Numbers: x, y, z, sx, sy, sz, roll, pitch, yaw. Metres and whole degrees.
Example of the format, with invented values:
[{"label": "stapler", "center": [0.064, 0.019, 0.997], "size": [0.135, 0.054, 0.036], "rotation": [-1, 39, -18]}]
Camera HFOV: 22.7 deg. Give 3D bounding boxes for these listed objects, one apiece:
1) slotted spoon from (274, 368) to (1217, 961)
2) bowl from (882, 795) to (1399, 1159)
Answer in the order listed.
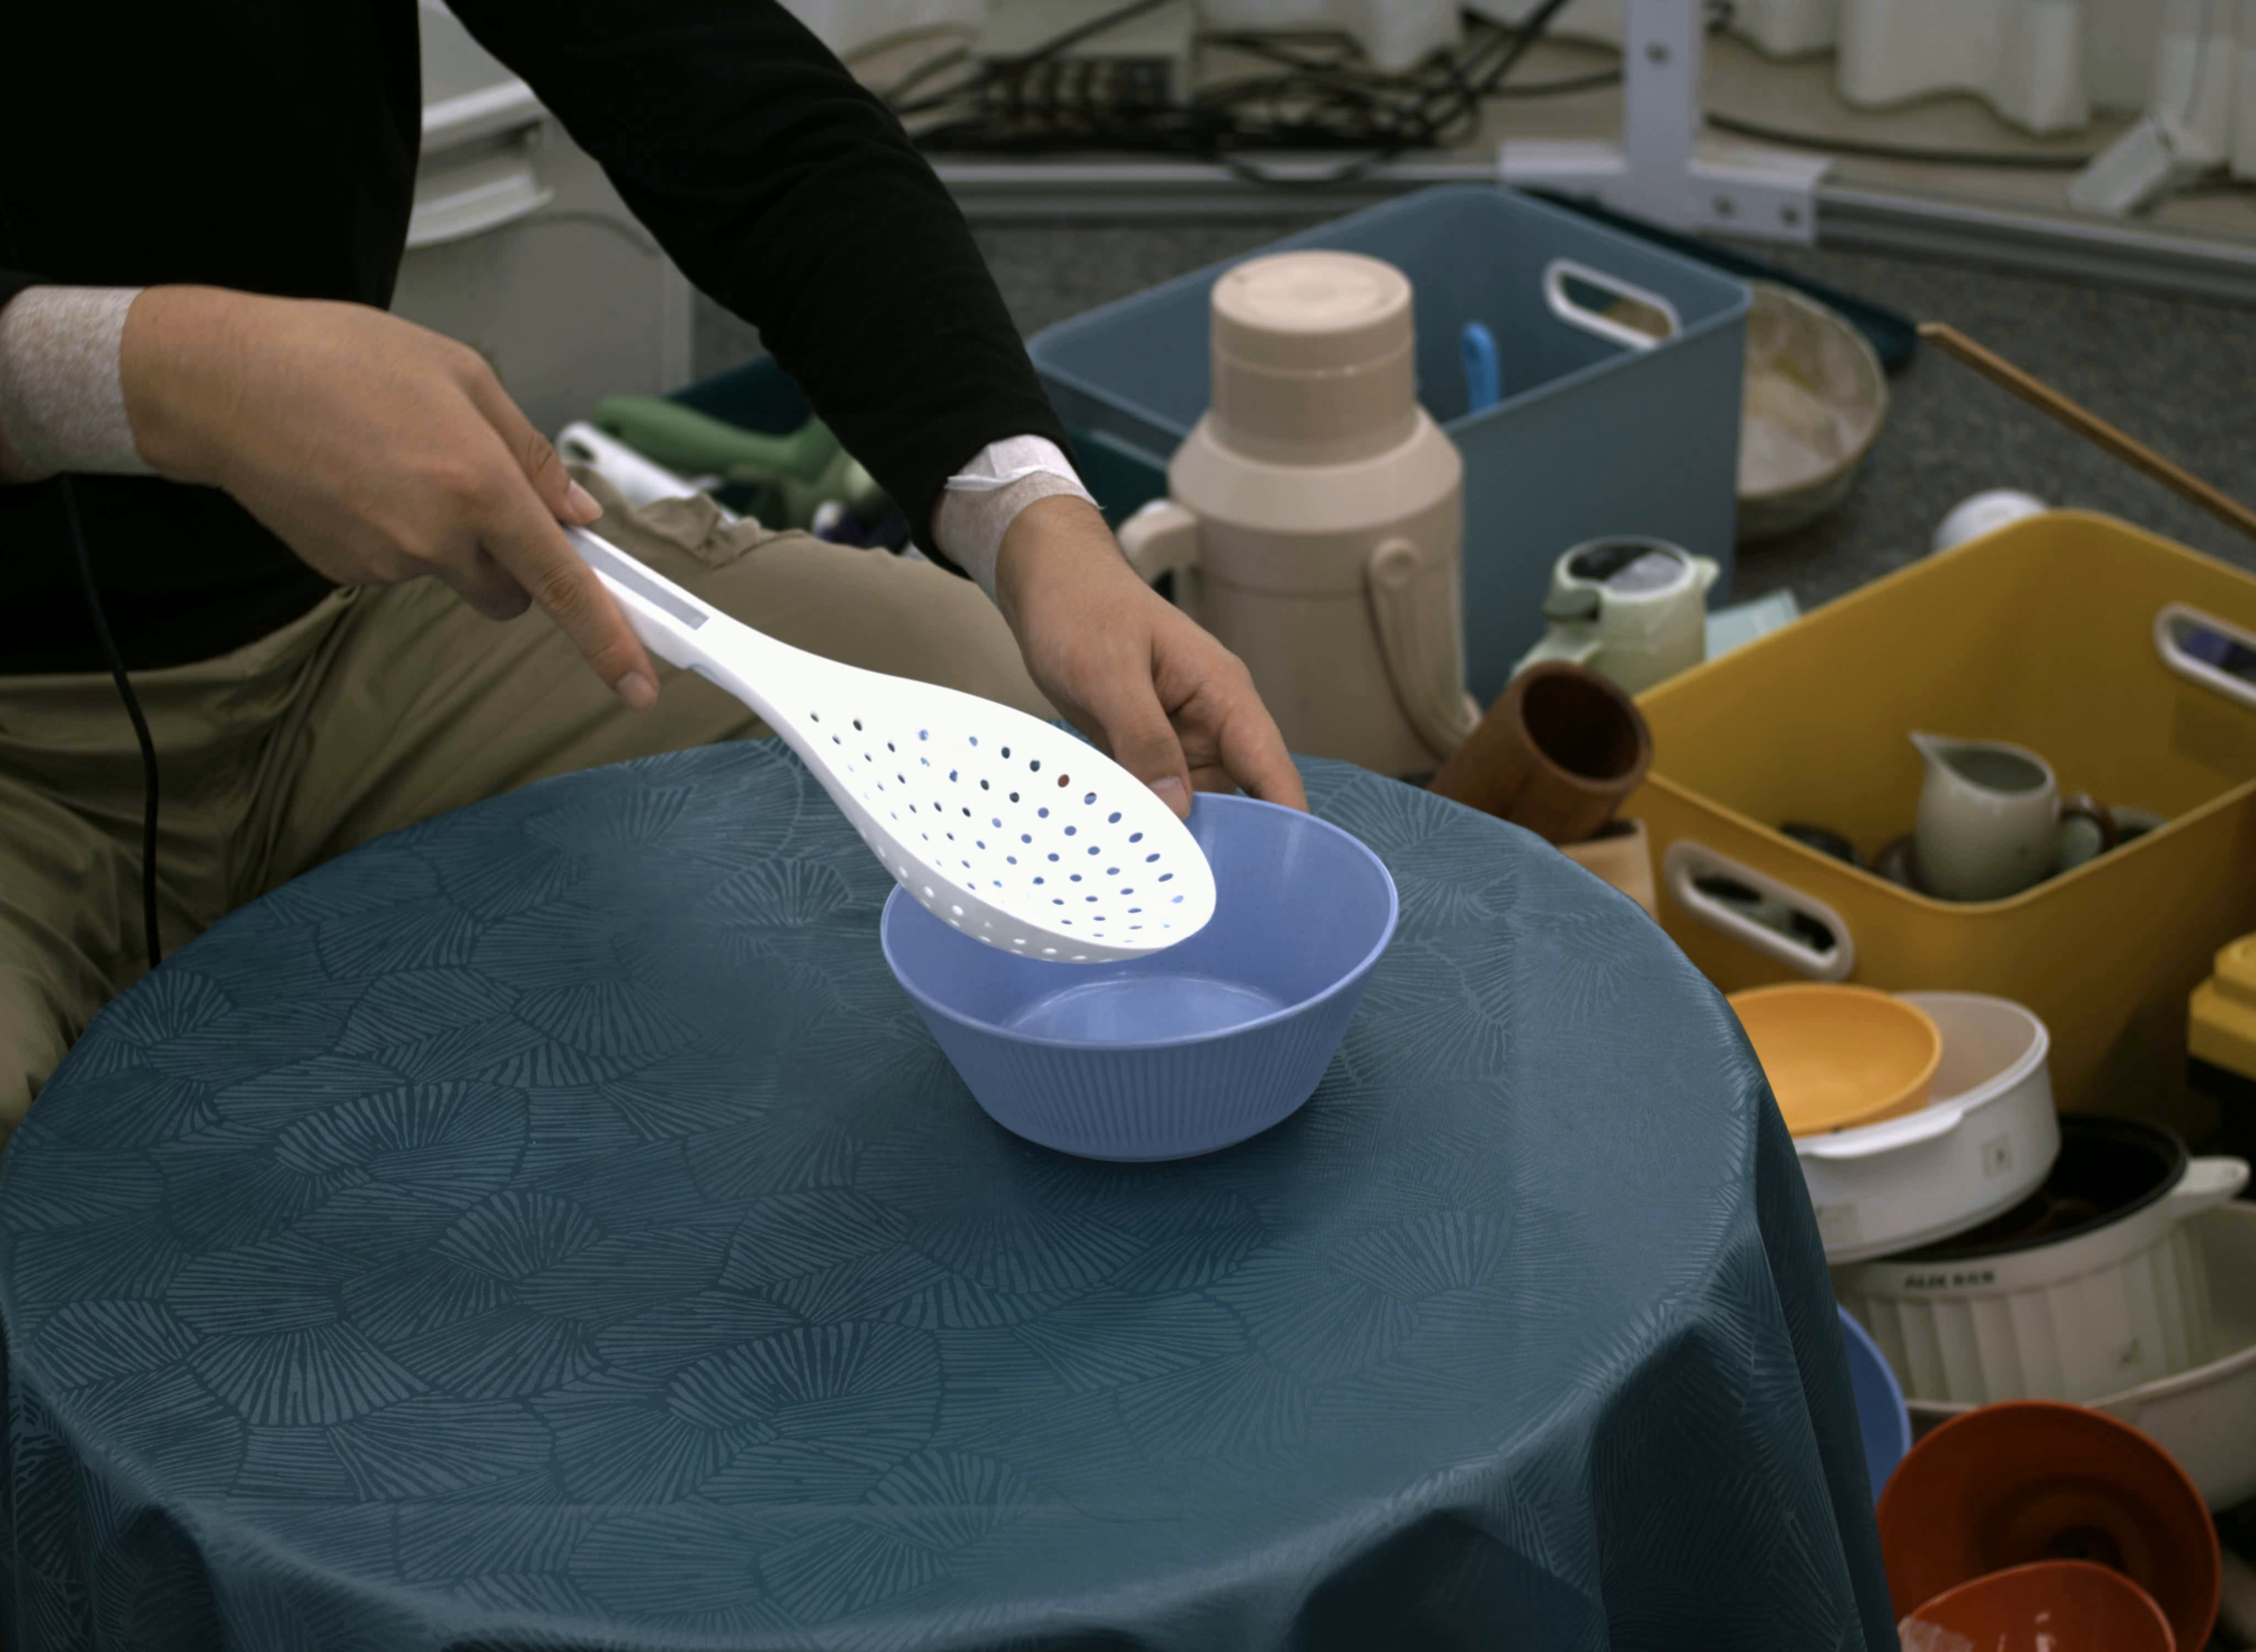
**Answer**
[{"label": "slotted spoon", "center": [-0.127, -0.054, 1.836], "size": [0.349, 0.045, 0.138], "rotation": [35, 26, 3]}, {"label": "bowl", "center": [0.005, 0.057, 1.910], "size": [0.175, 0.069, 0.178], "rotation": [-2, 26, 1]}]
